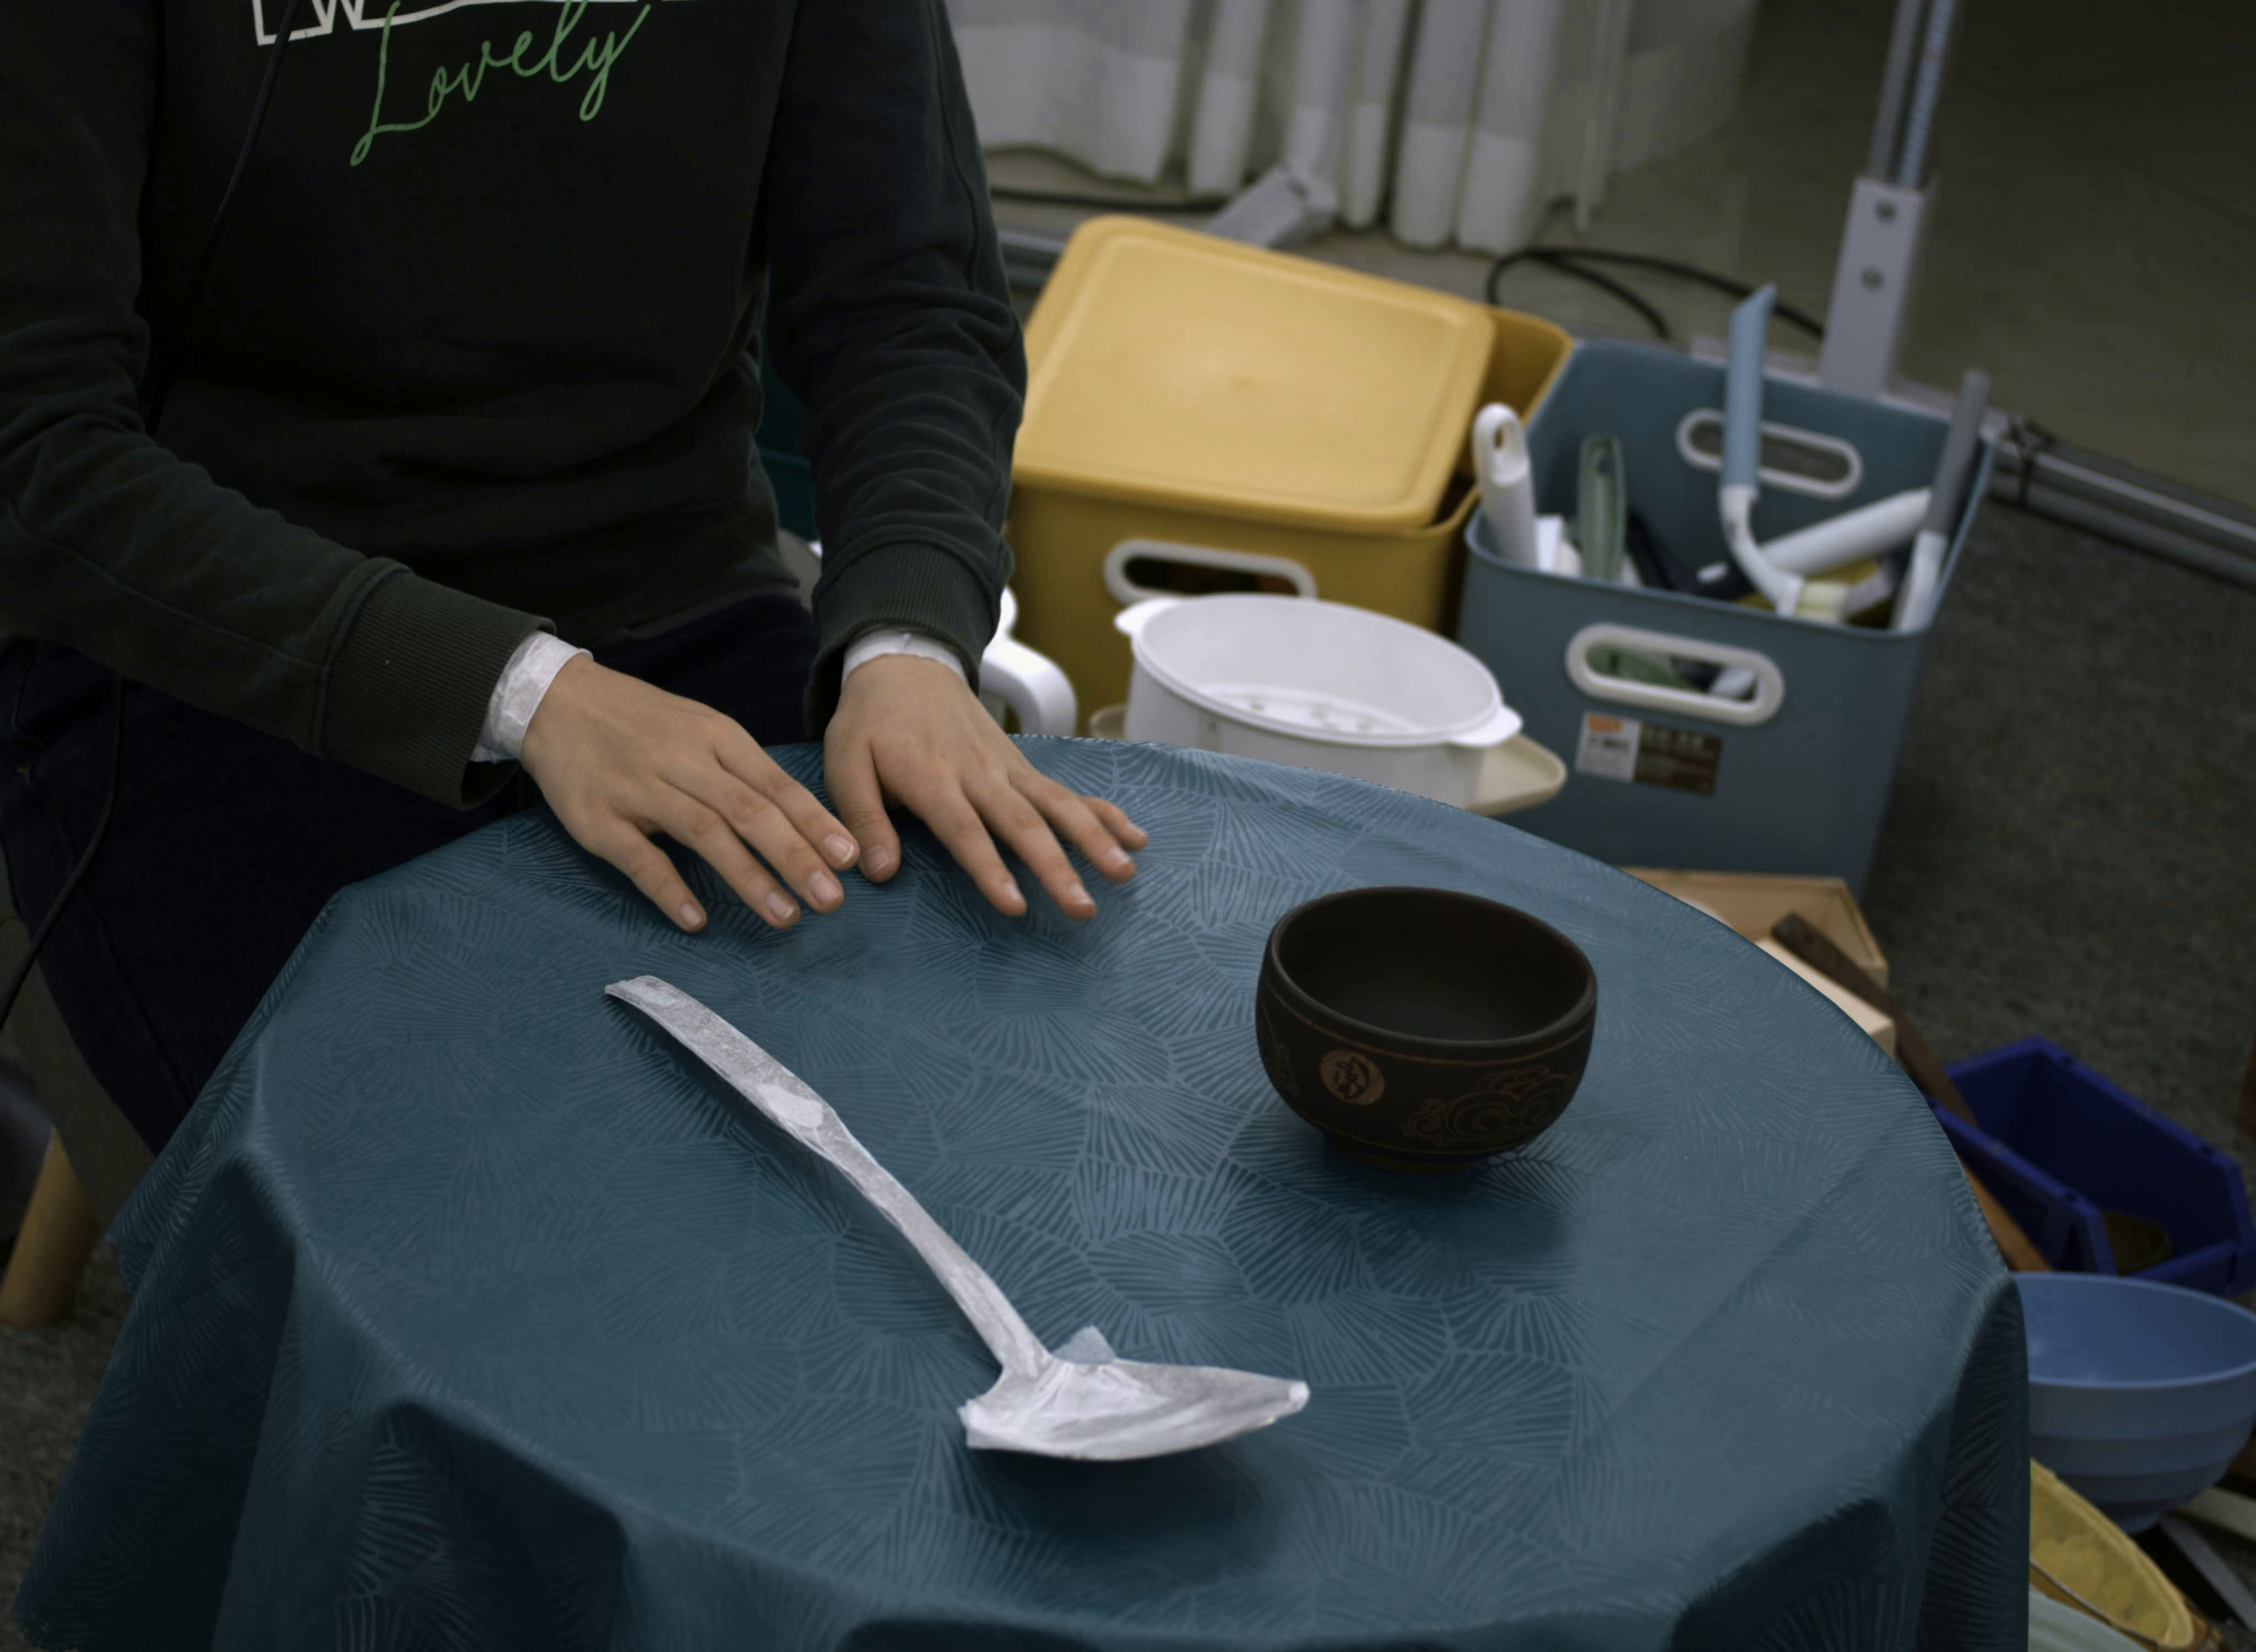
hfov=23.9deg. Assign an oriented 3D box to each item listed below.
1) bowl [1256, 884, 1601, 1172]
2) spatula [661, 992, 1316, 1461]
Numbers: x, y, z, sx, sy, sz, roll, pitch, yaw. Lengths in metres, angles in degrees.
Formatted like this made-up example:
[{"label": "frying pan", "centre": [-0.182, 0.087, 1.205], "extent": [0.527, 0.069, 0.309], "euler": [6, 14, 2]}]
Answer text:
[{"label": "bowl", "centre": [0.101, 0.076, 1.838], "extent": [0.117, 0.069, 0.119], "euler": [6, 25, -3]}, {"label": "spatula", "centre": [-0.070, 0.123, 1.743], "extent": [0.098, 0.044, 0.368], "euler": [-12, 32, -29]}]
